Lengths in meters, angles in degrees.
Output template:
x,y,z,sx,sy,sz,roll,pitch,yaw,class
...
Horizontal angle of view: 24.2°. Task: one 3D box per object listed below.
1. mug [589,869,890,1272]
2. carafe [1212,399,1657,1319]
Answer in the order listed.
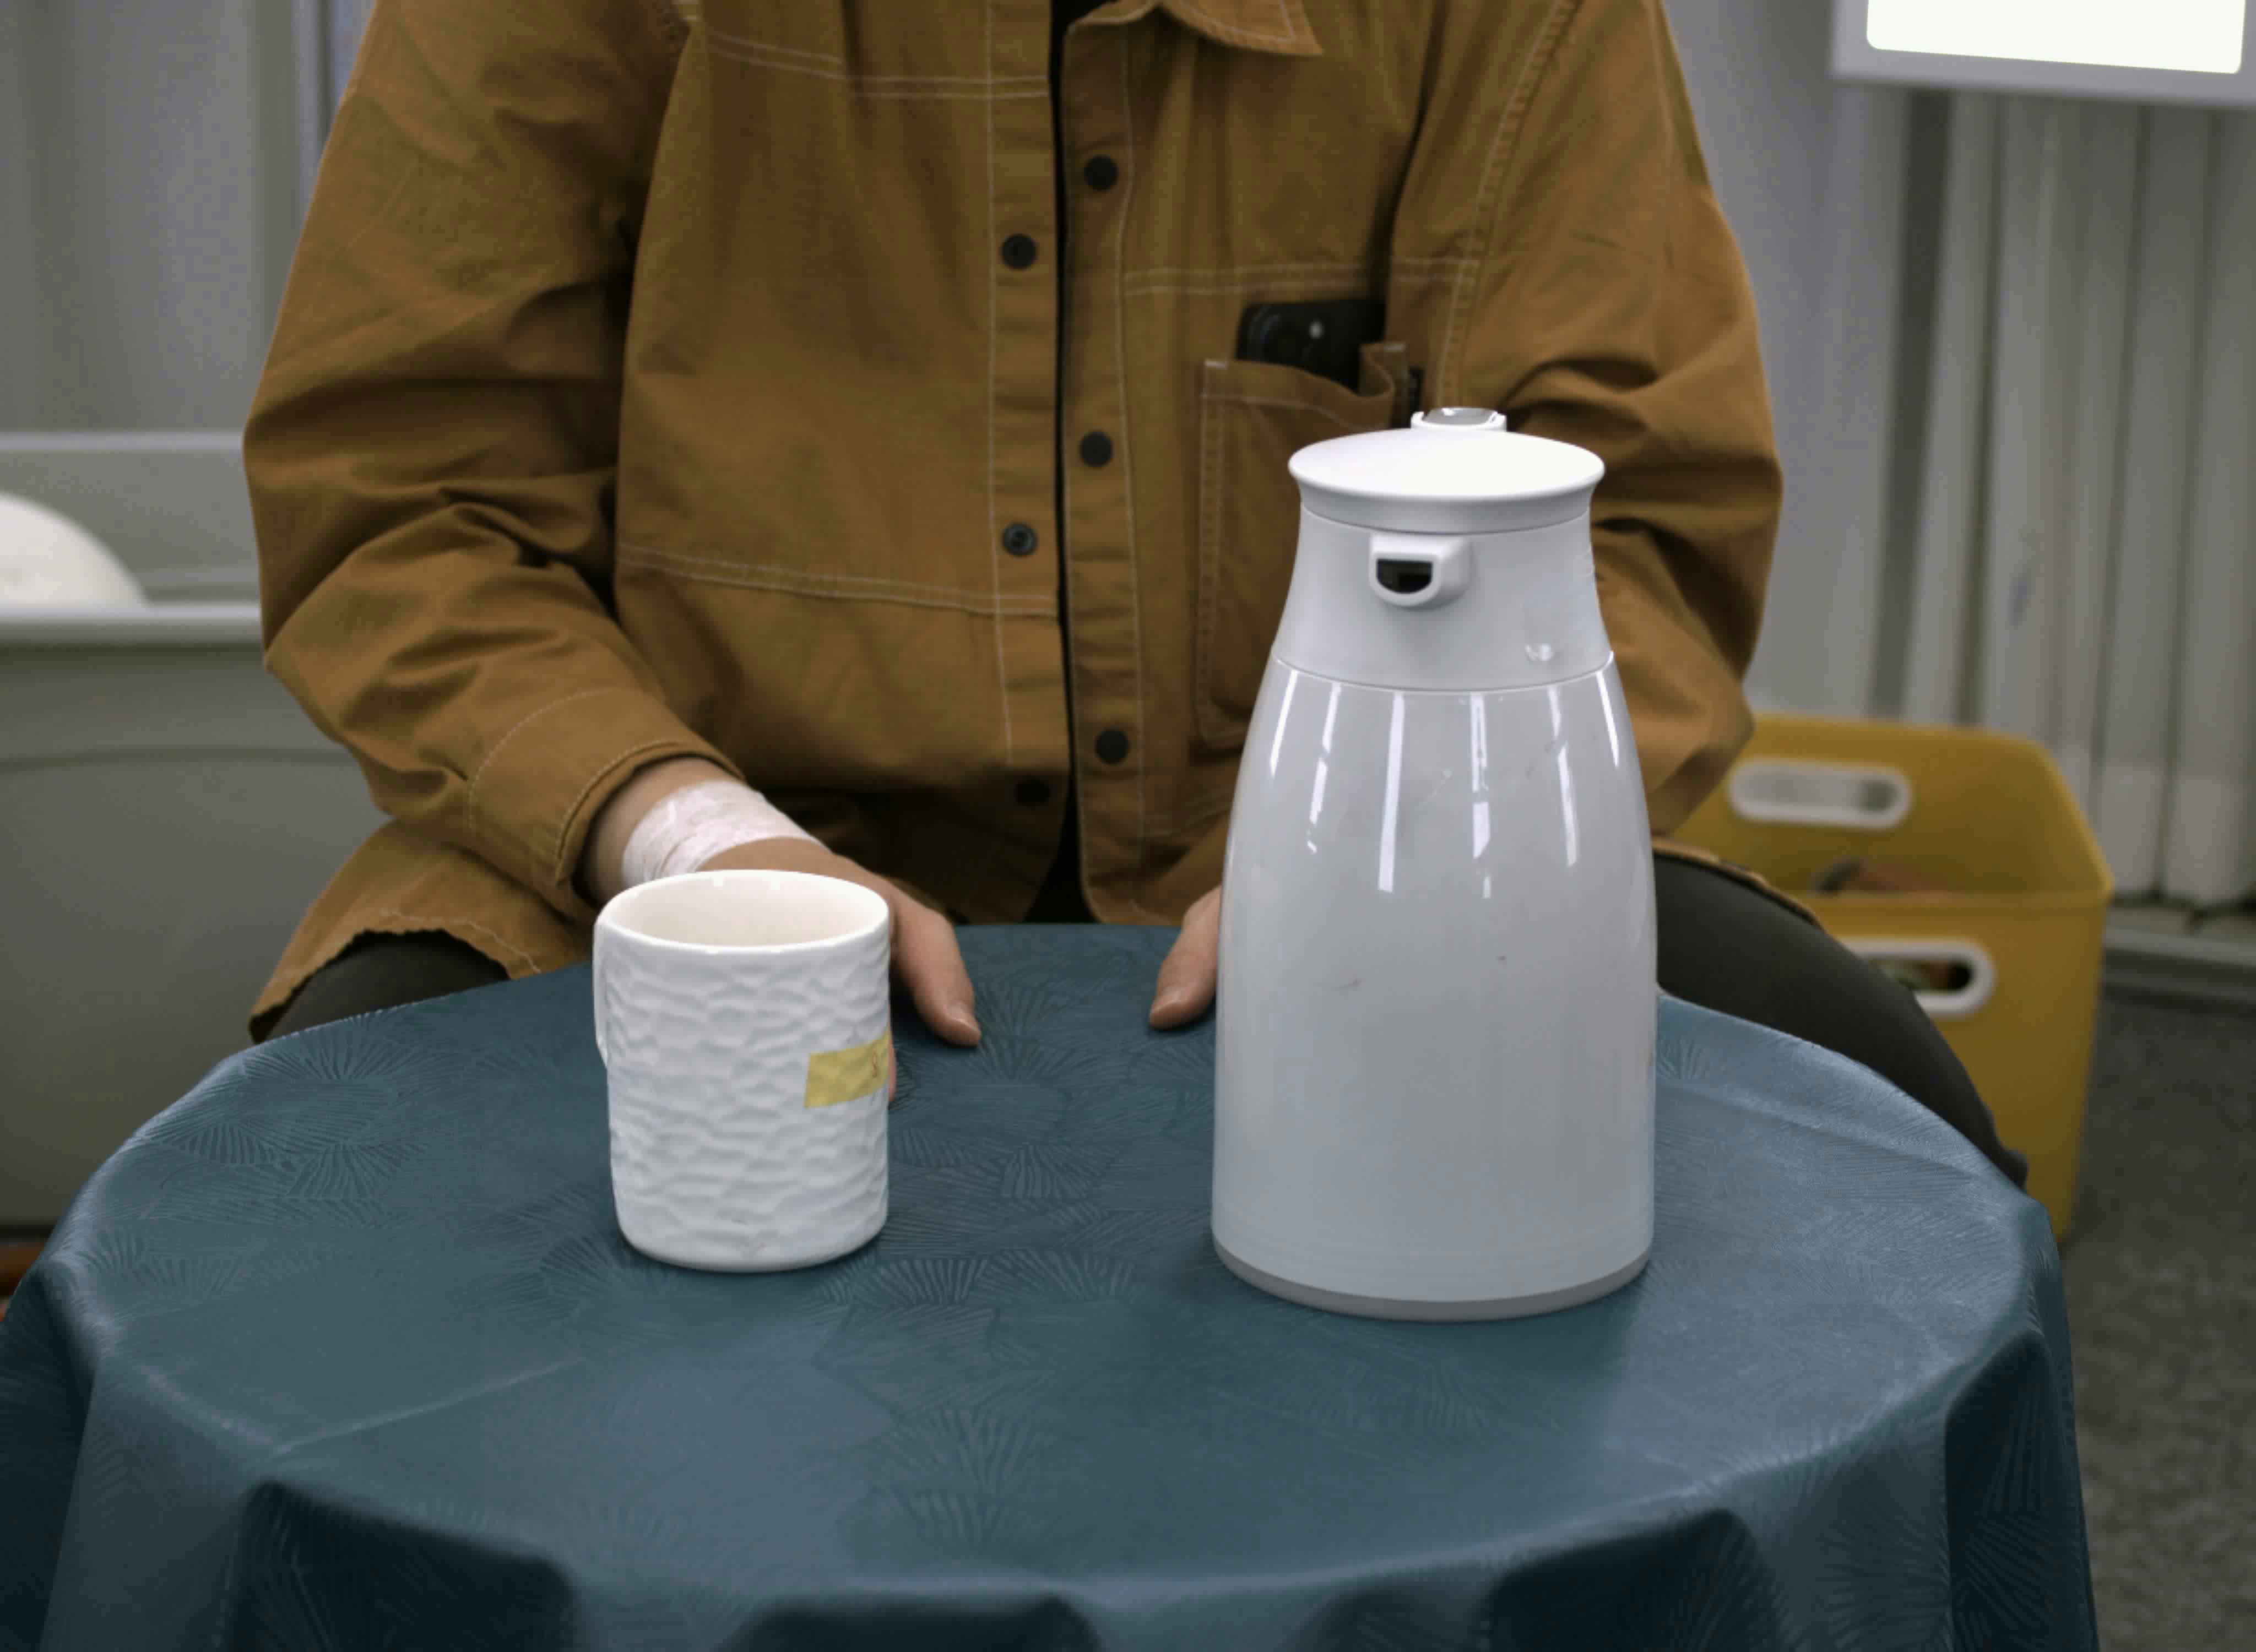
x,y,z,sx,sy,sz,roll,pitch,yaw,class
-0.124,0.069,1.583,0.085,0.103,0.116,-12,19,-39,mug
0.094,0.001,1.561,0.131,0.250,0.167,3,16,11,carafe
